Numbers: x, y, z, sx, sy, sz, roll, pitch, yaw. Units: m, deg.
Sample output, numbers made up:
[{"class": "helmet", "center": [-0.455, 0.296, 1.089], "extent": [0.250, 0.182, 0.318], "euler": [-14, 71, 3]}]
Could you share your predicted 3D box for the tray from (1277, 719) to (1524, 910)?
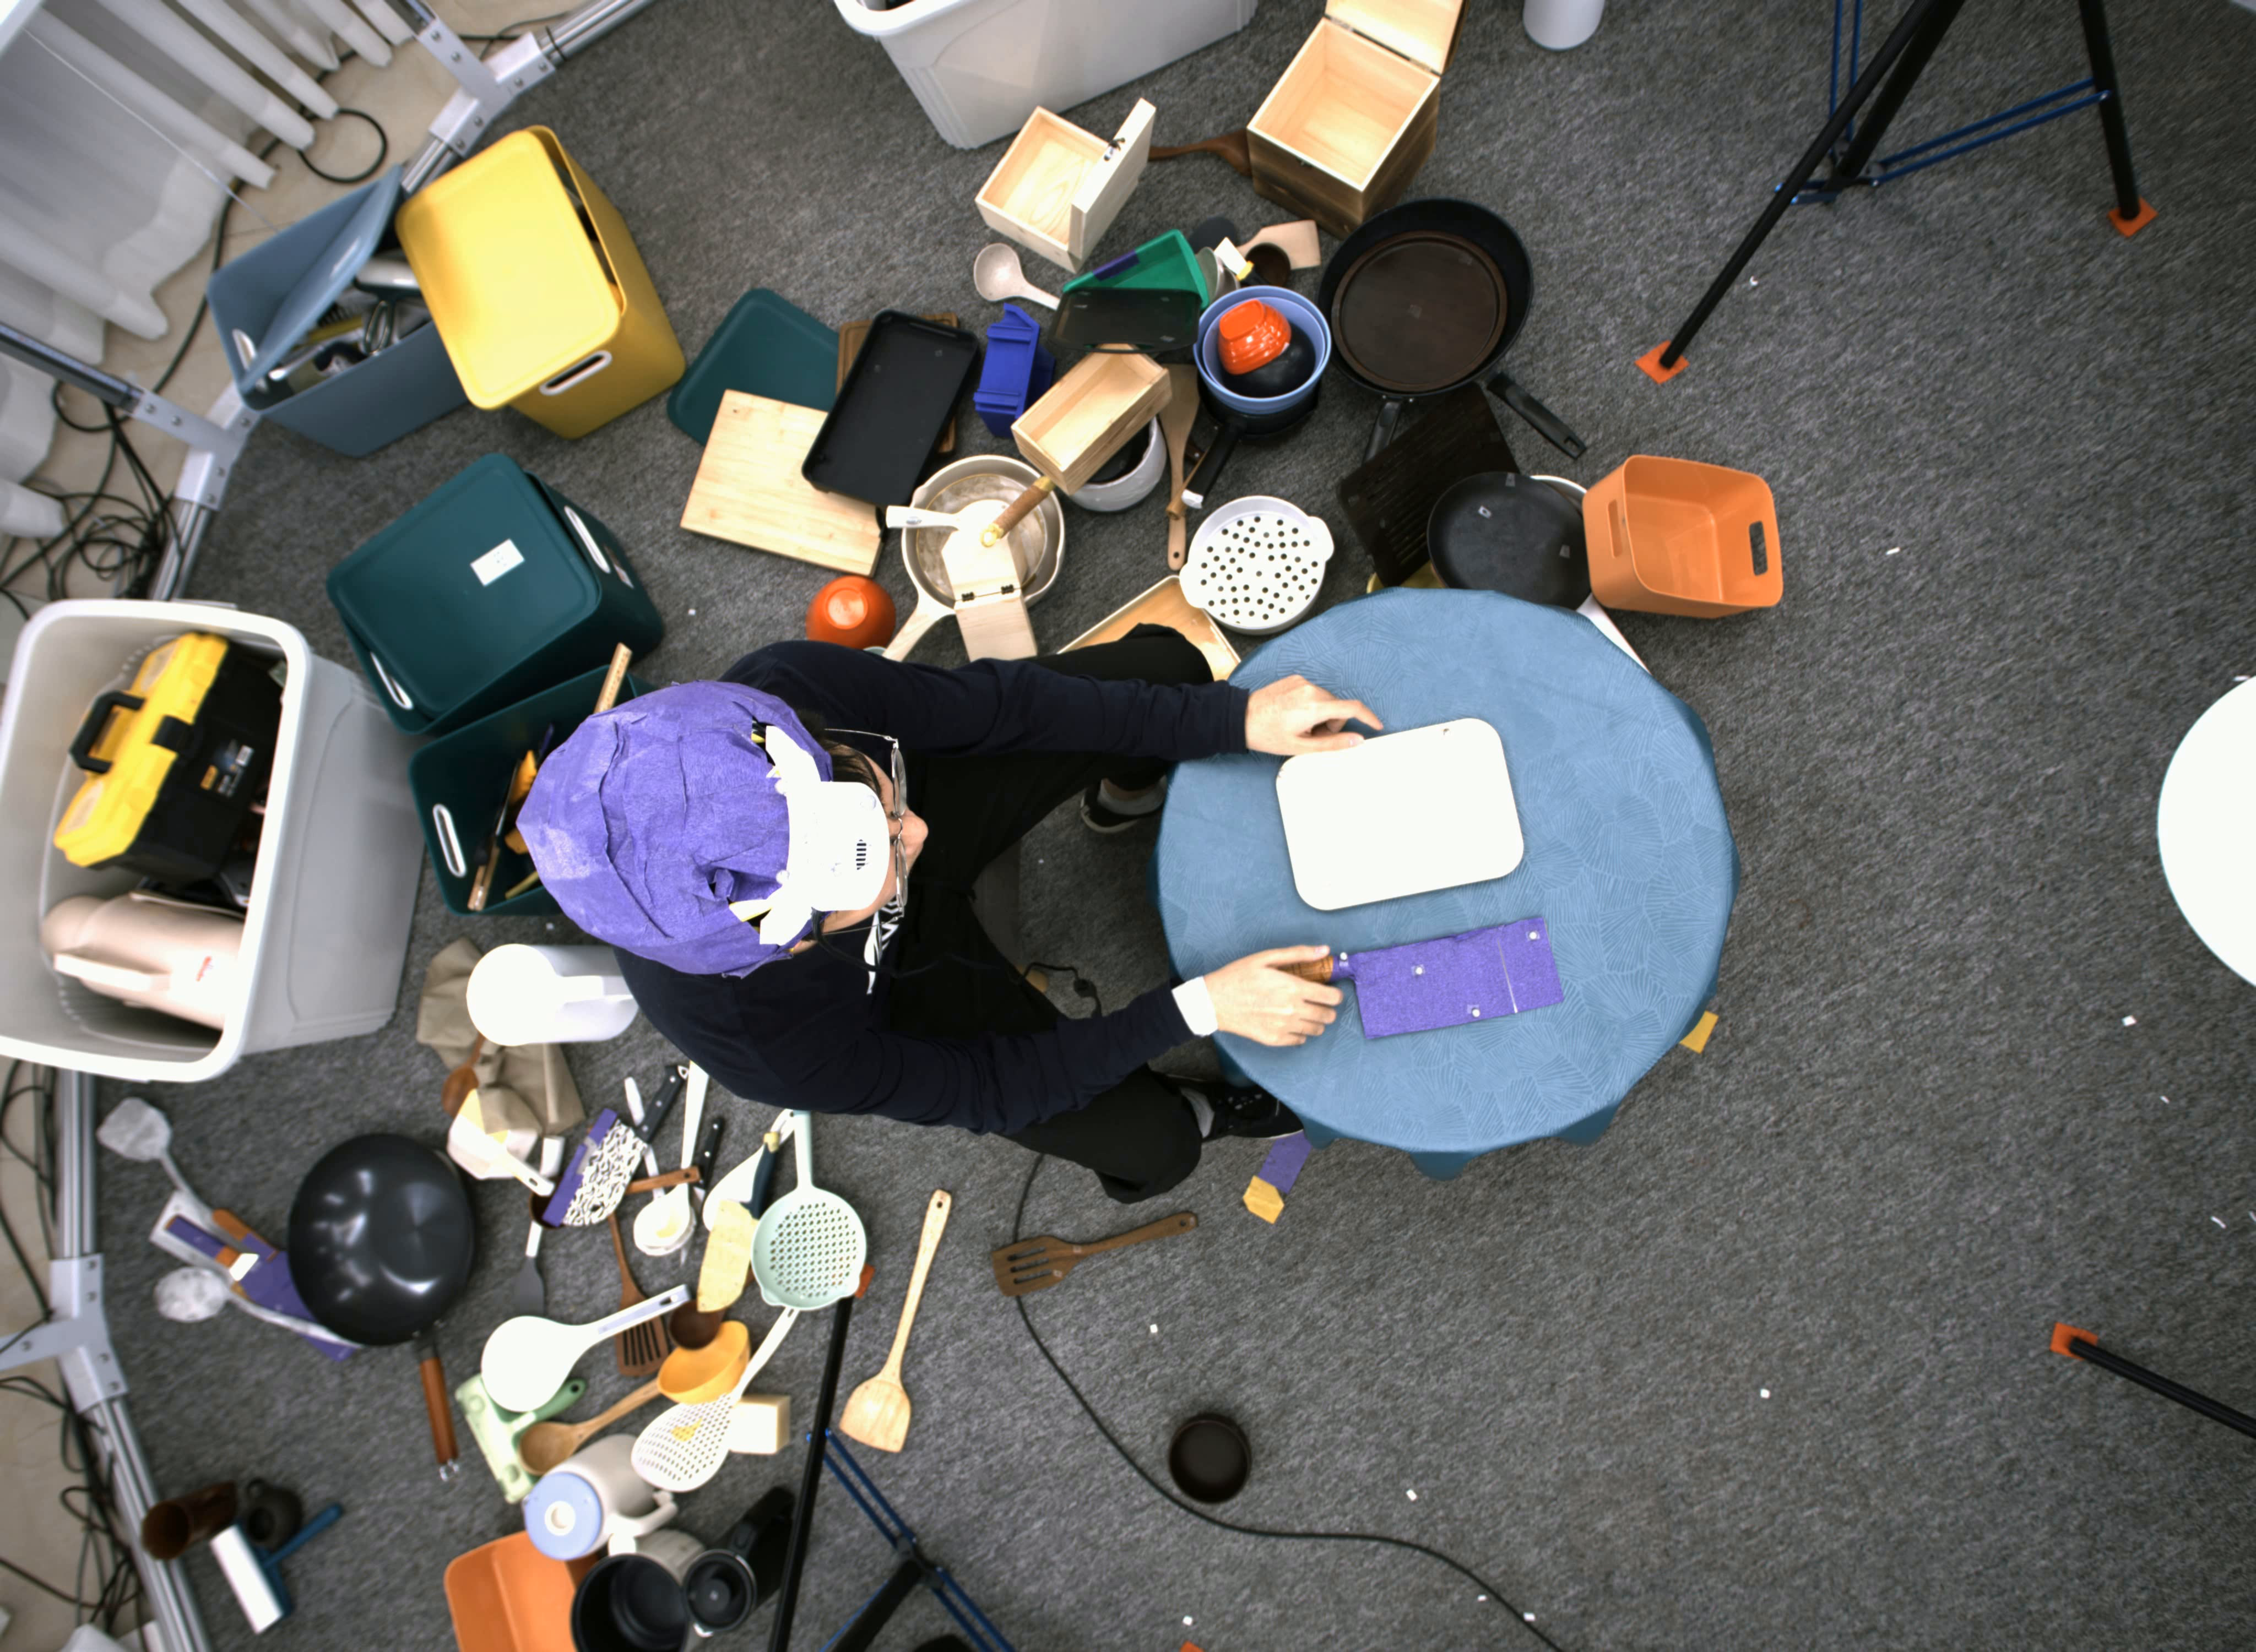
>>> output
[{"class": "tray", "center": [0.285, -0.013, 1.453], "extent": [0.241, 0.017, 0.170], "euler": [-12, 85, 10]}]

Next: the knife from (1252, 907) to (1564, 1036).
[{"class": "knife", "center": [0.290, 0.164, 1.437], "extent": [0.317, 0.032, 0.103], "euler": [-13, 84, 9]}]
